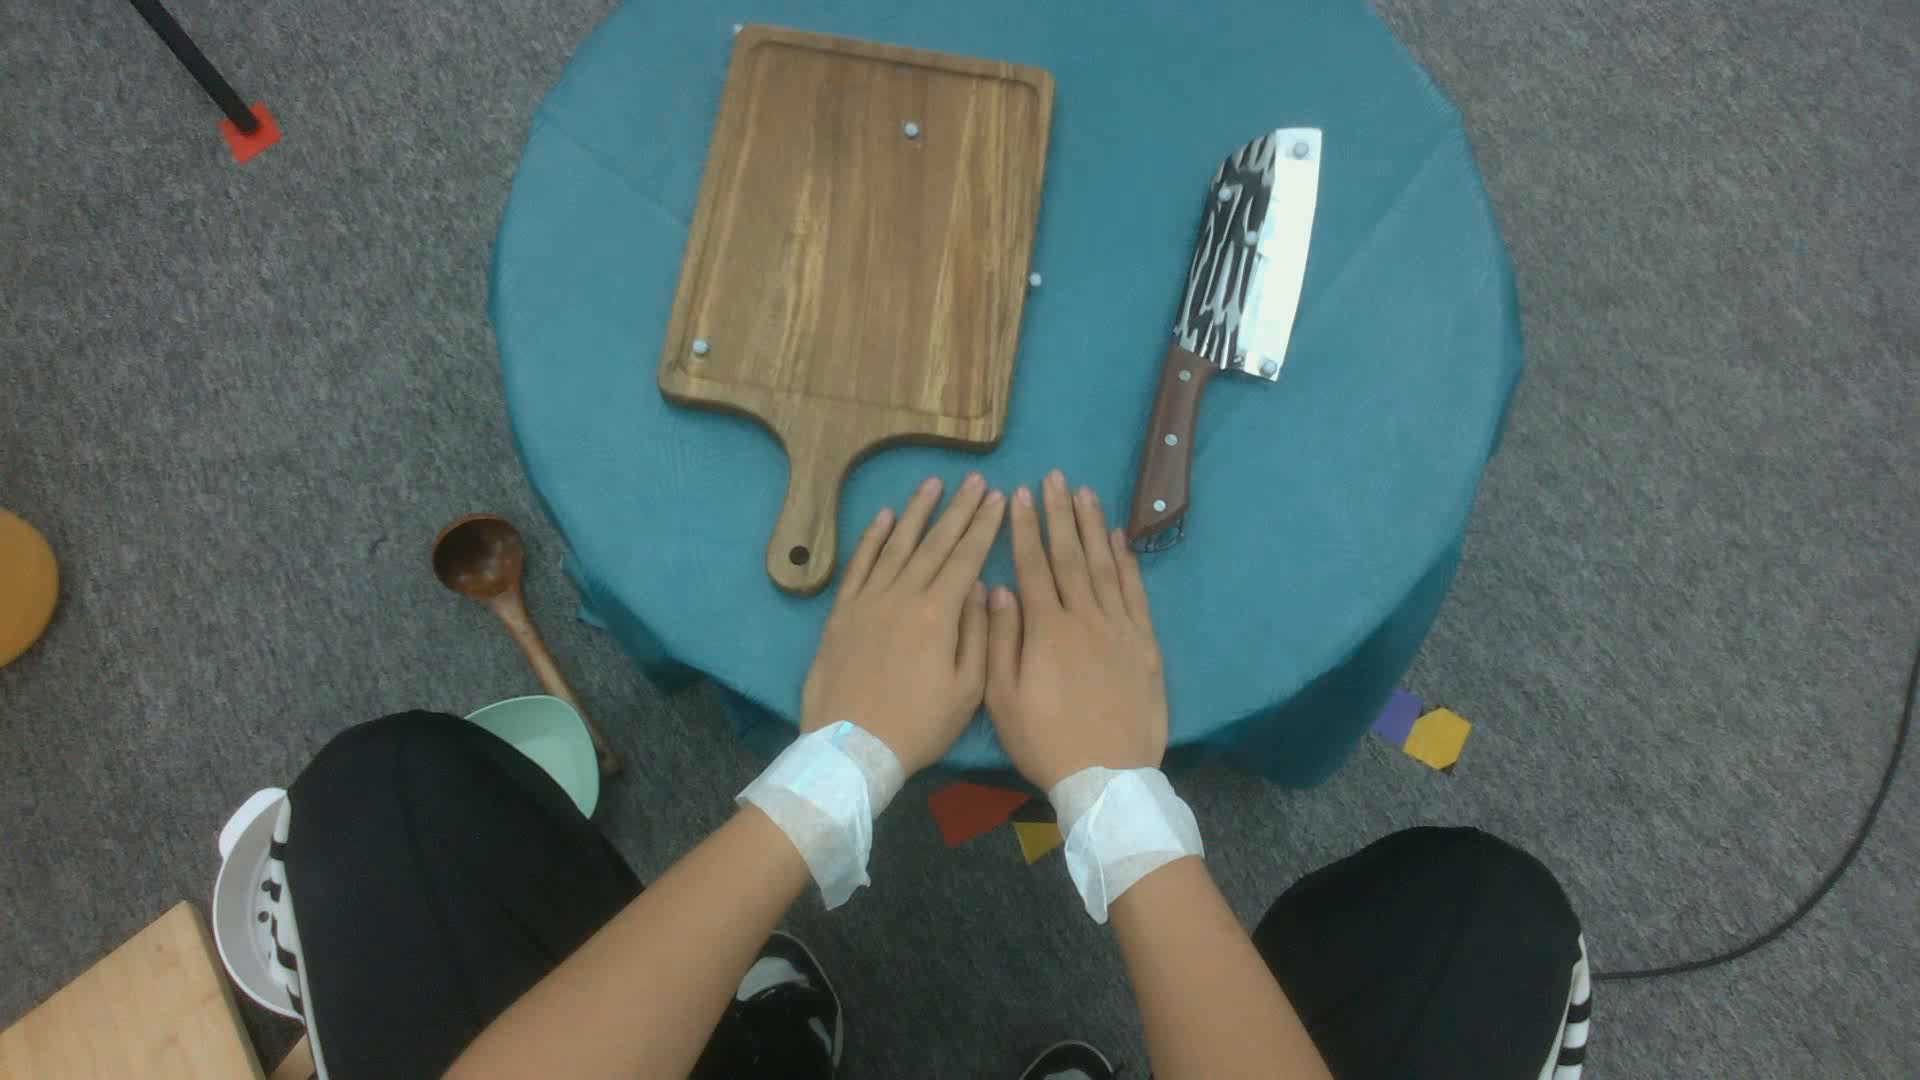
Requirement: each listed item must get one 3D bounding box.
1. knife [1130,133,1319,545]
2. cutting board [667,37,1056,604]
[{"bbox_3d":[0.161,-0.127,0.812,0.068,0.024,0.300,17,69,1],"label":"knife"},{"bbox_3d":[-0.061,-0.134,0.806,0.201,0.023,0.353,9,72,1],"label":"cutting board"}]
